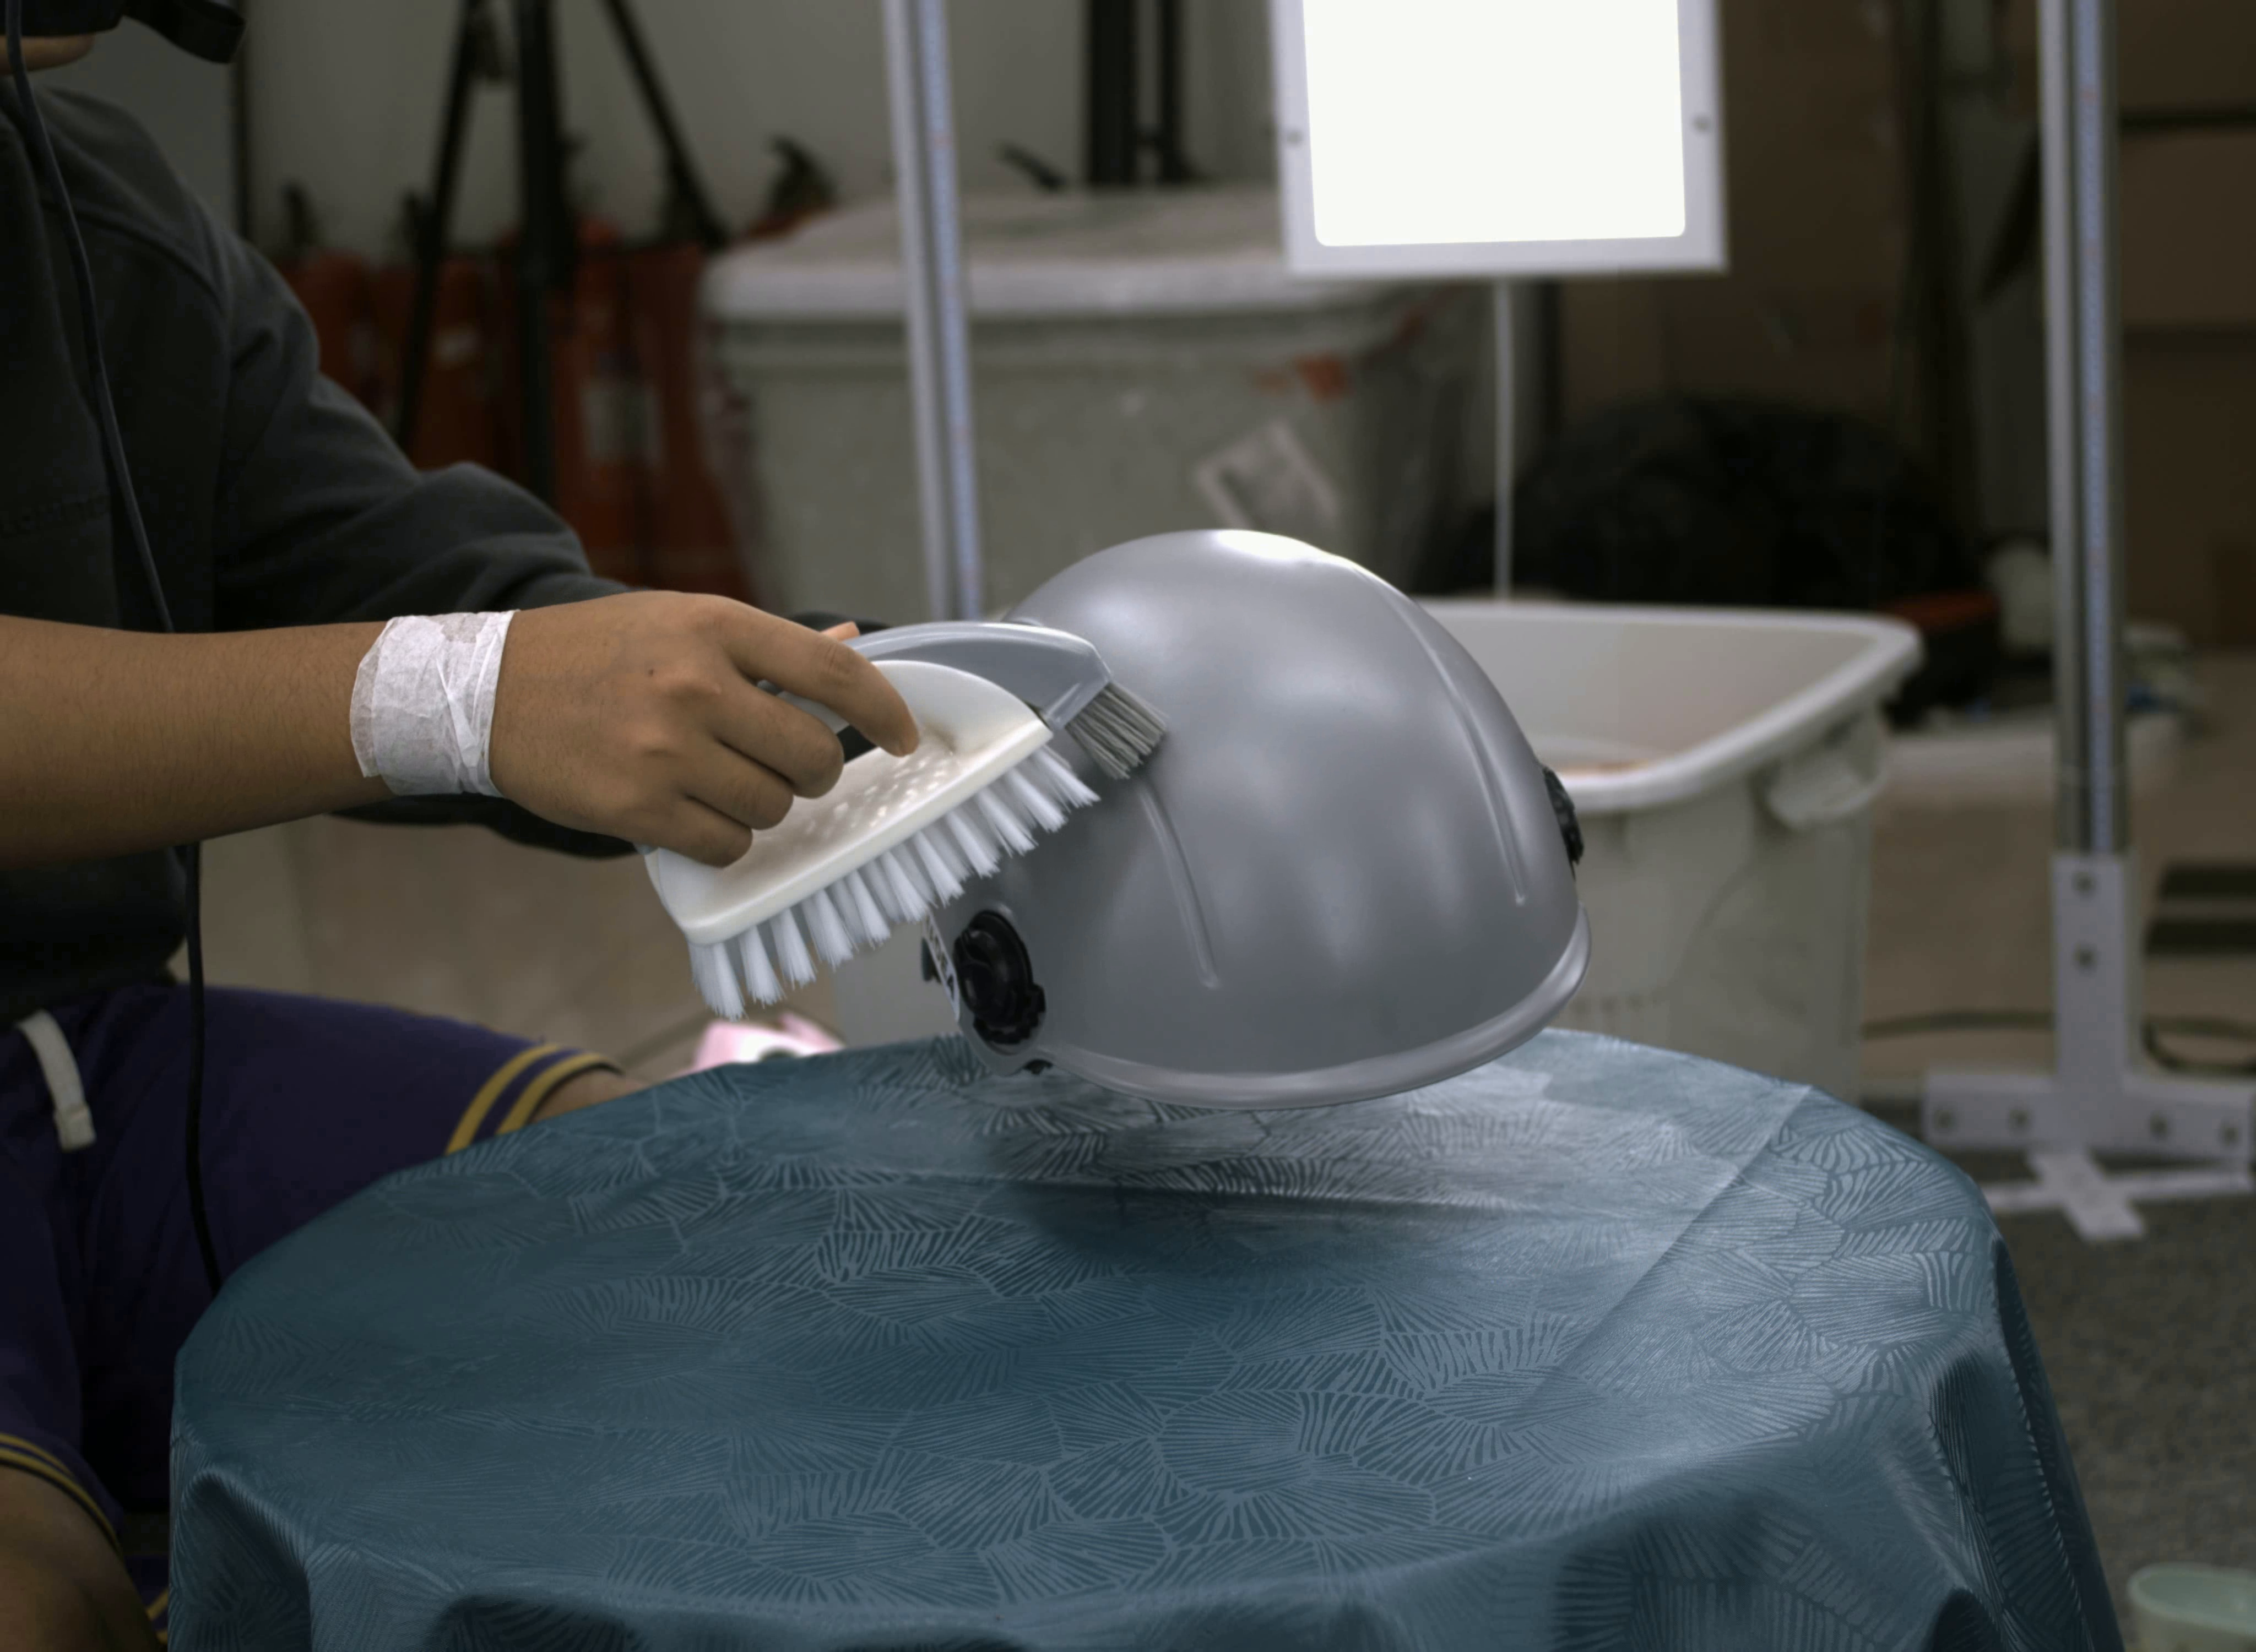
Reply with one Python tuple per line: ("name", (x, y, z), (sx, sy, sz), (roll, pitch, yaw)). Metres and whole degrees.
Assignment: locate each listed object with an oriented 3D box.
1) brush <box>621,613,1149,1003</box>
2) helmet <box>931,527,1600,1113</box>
("brush", (-0.083, -0.023, 1.795), (0.174, 0.094, 0.062), (-28, 28, -4))
("helmet", (0.037, -0.015, 1.909), (0.228, 0.169, 0.280), (-16, 17, -16))
